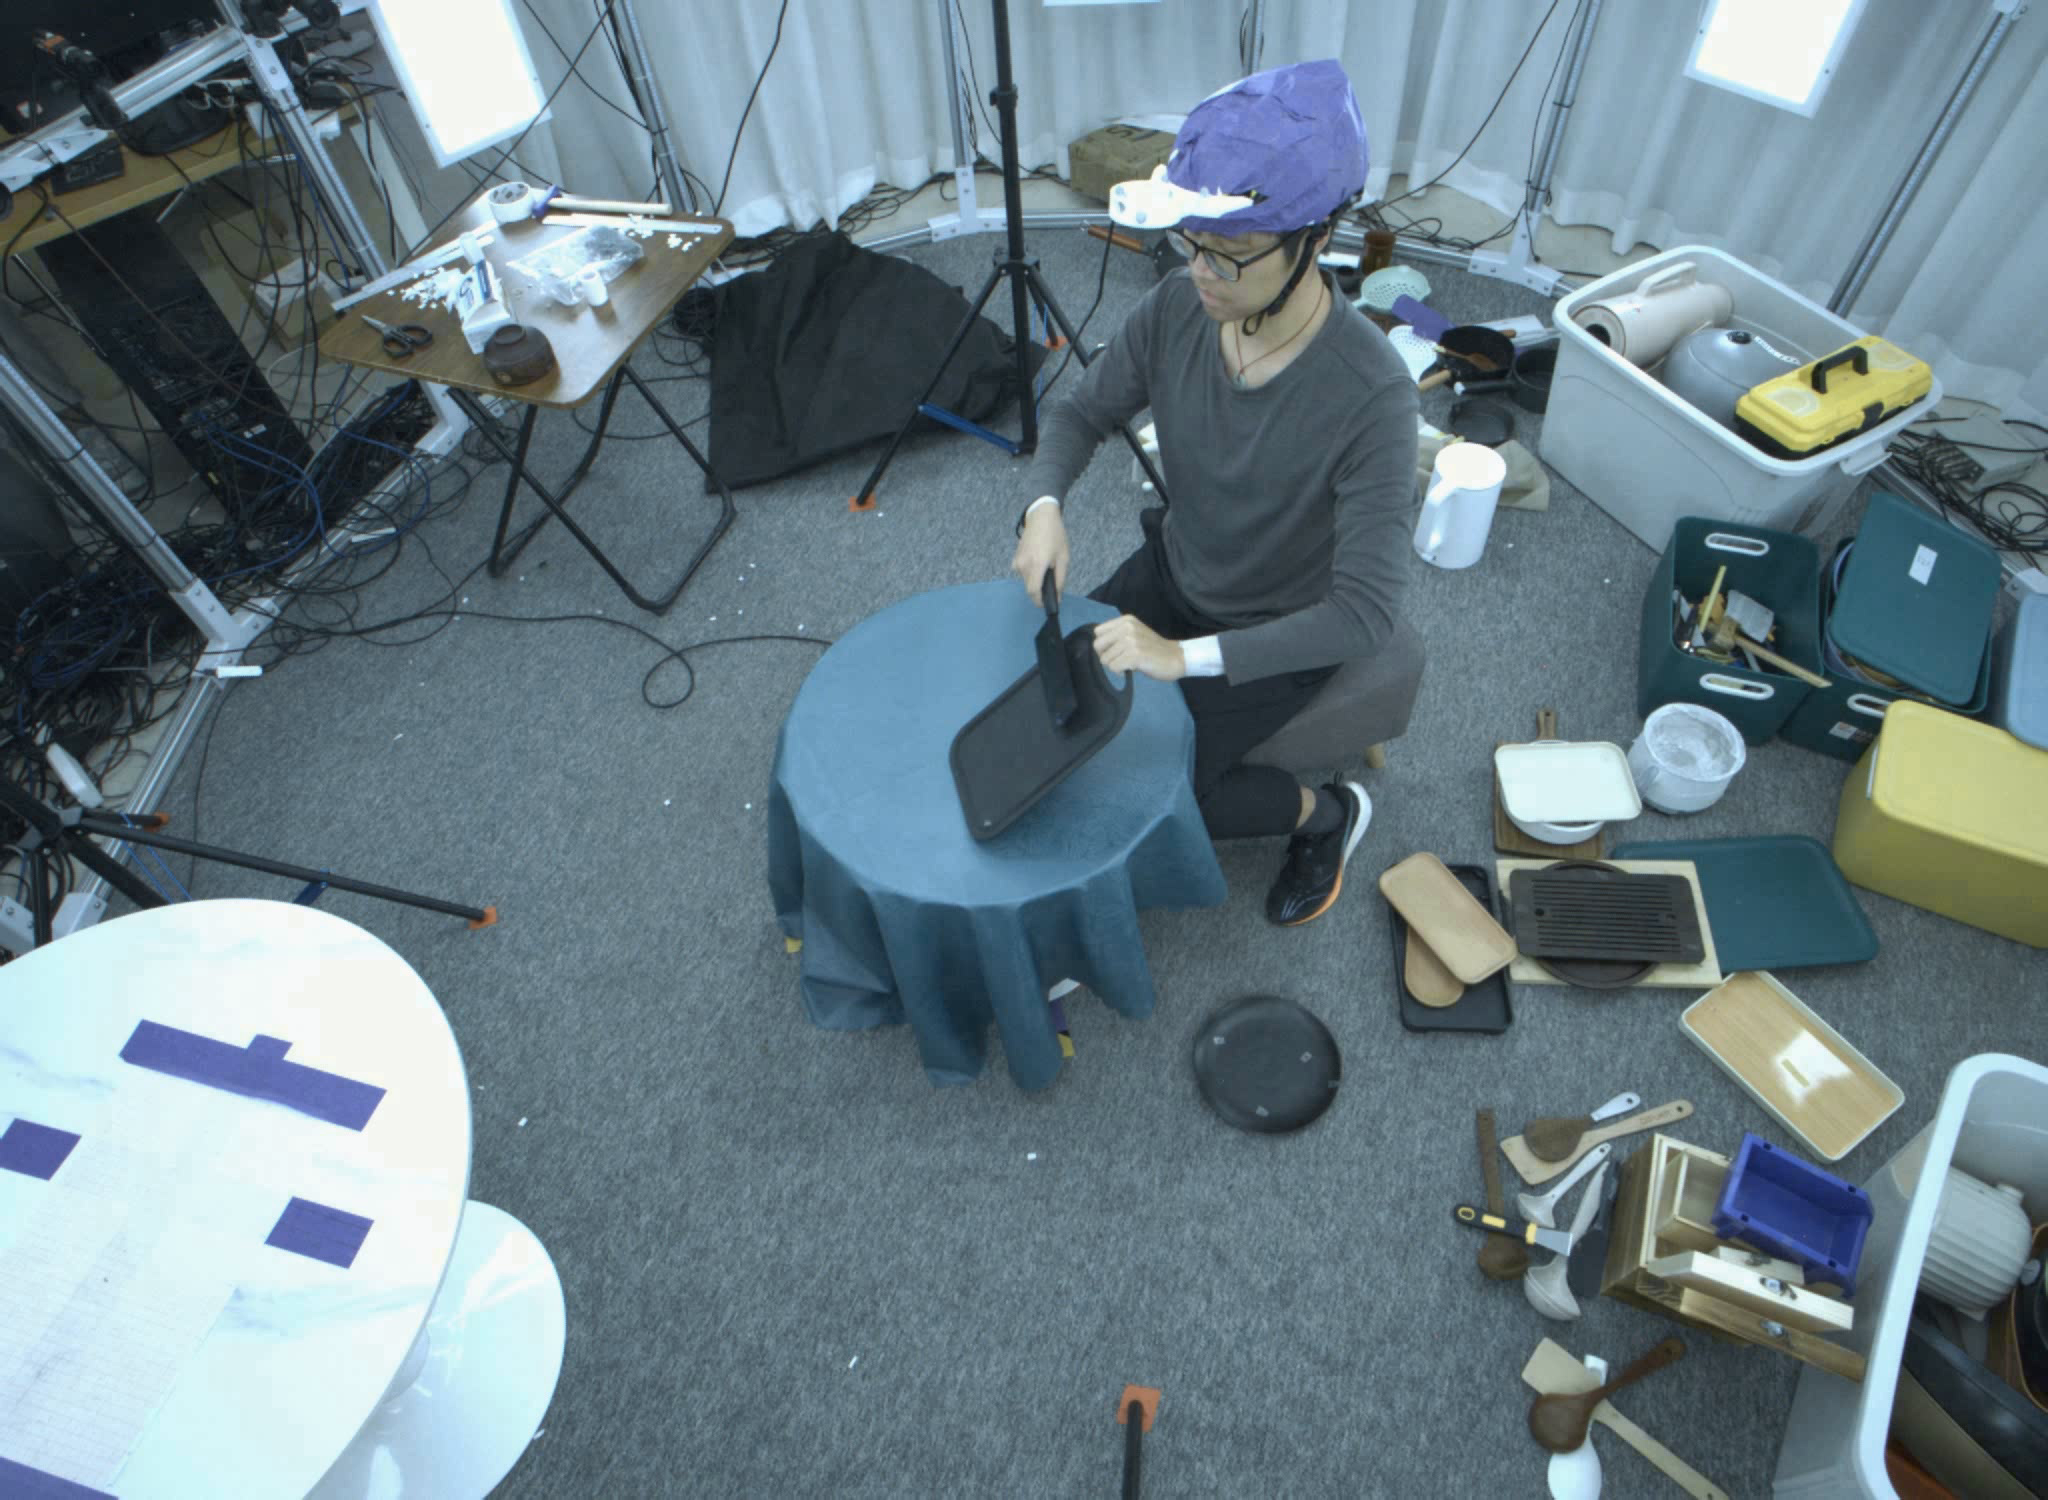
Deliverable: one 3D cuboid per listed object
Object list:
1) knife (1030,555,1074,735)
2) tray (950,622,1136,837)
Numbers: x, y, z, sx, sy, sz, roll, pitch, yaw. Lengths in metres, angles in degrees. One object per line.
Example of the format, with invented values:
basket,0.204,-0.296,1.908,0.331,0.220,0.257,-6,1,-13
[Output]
knife,0.033,-0.155,1.706,0.021,0.080,0.298,13,52,-28
tray,0.021,-0.034,1.685,0.323,0.010,0.207,-39,47,23
